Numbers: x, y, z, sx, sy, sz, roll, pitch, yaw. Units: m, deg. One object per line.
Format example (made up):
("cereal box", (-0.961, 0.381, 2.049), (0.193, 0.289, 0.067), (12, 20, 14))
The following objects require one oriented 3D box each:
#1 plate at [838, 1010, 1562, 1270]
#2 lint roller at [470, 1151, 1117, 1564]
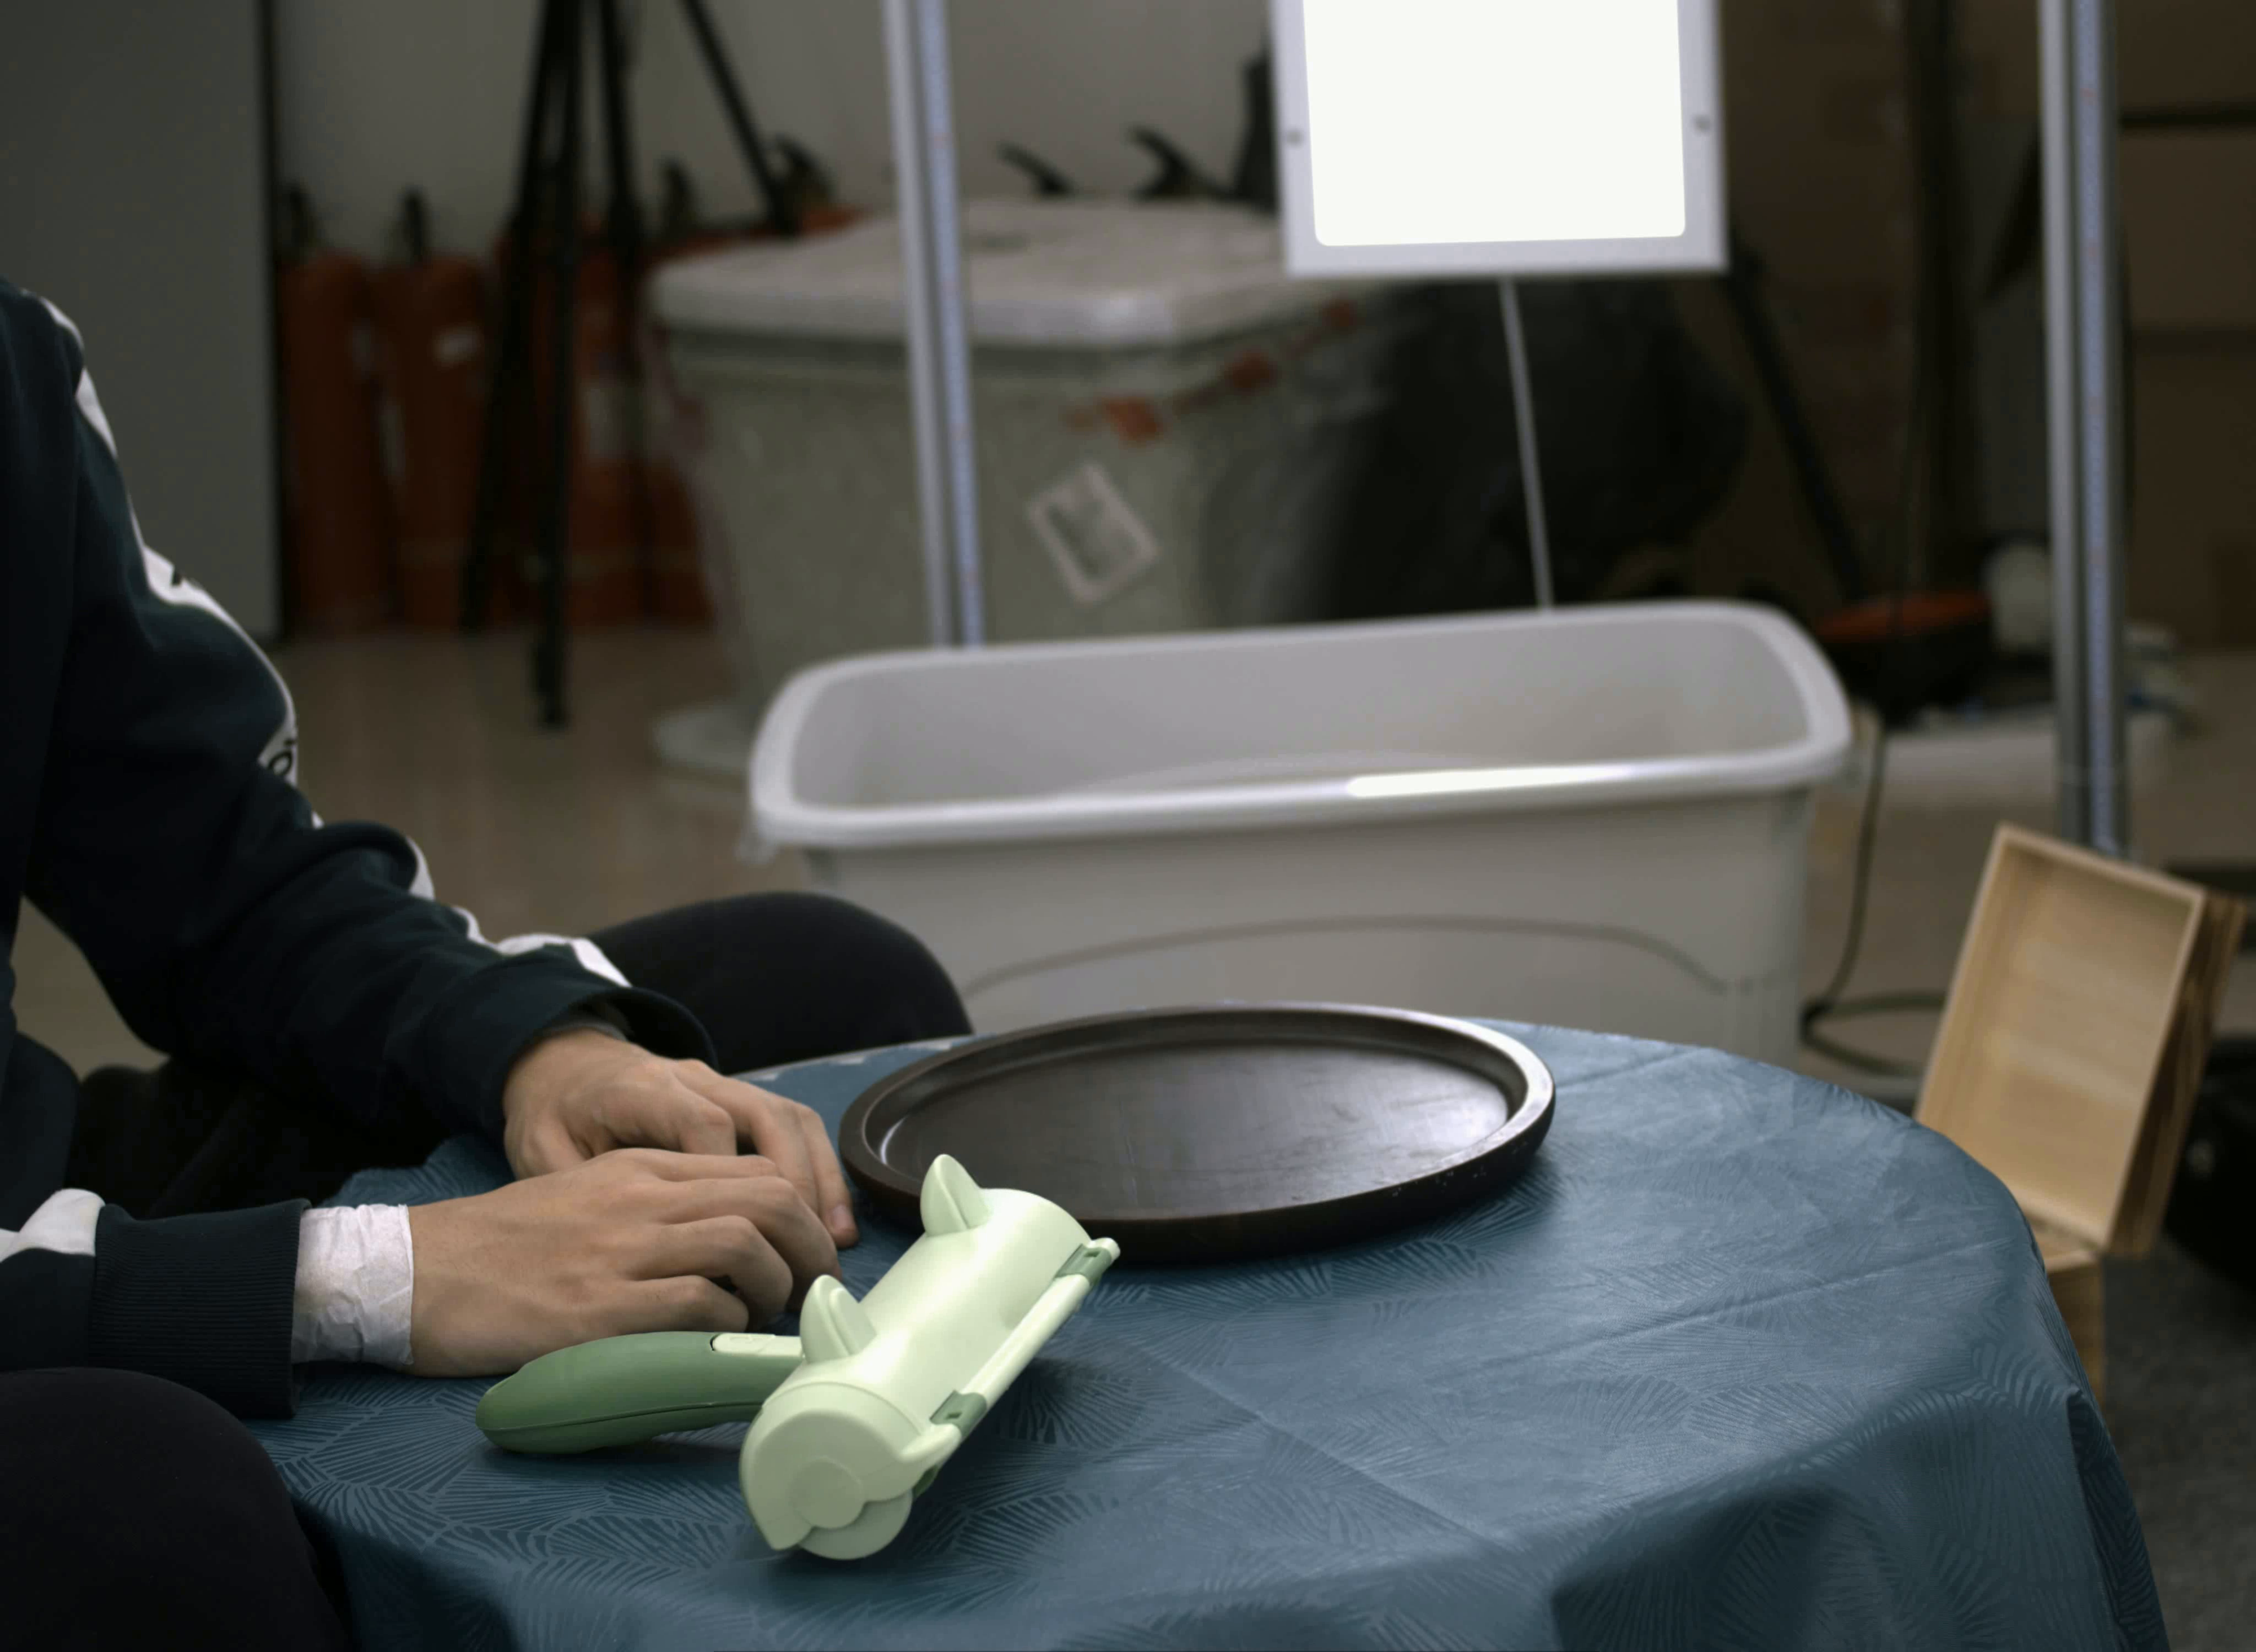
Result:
("plate", (0.026, 0.107, 1.917), (0.254, 0.029, 0.254), (-5, 15, 0))
("lint roller", (-0.114, 0.152, 1.664), (0.185, 0.082, 0.195), (3, 16, 17))
